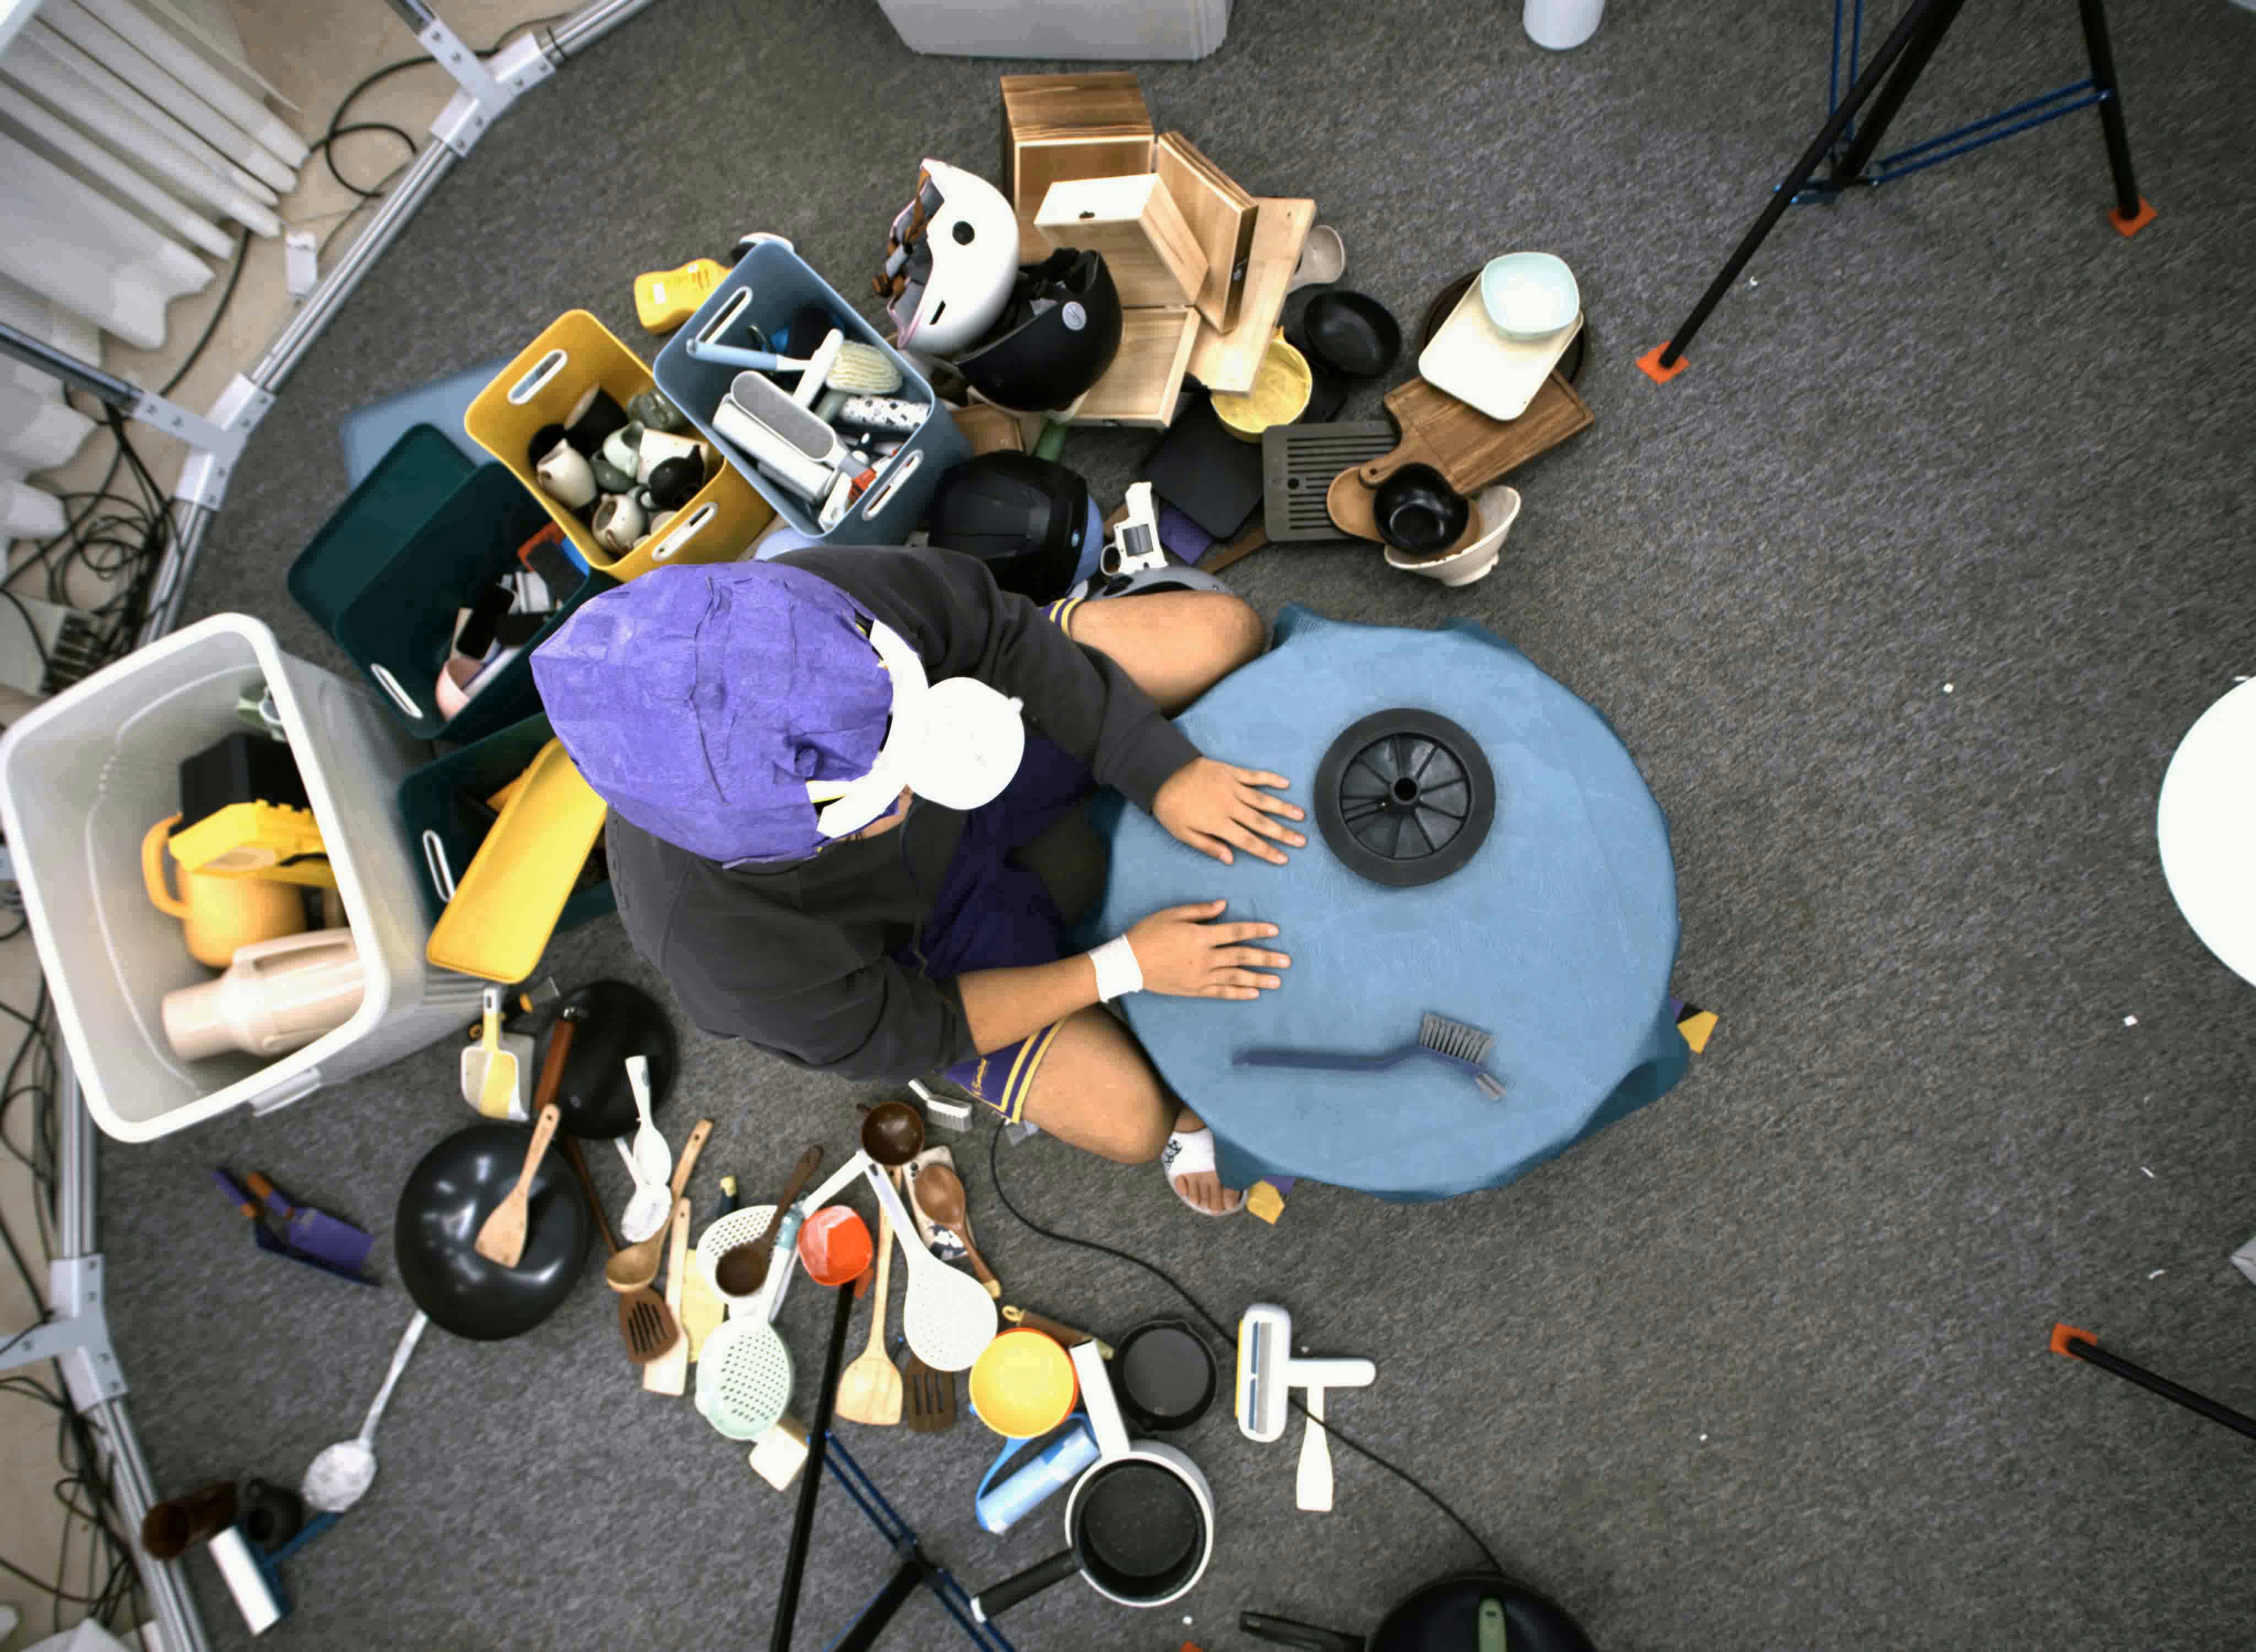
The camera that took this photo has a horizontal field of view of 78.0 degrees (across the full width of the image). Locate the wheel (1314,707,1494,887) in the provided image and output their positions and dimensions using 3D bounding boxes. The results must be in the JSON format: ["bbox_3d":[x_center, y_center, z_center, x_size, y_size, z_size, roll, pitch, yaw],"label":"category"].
[{"bbox_3d":[0.285,-0.033,1.424,0.191,0.079,0.186,-42,81,6],"label":"wheel"}]

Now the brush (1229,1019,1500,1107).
[{"bbox_3d":[0.244,0.253,1.438,0.274,0.033,0.095,-7,86,9],"label":"brush"}]
